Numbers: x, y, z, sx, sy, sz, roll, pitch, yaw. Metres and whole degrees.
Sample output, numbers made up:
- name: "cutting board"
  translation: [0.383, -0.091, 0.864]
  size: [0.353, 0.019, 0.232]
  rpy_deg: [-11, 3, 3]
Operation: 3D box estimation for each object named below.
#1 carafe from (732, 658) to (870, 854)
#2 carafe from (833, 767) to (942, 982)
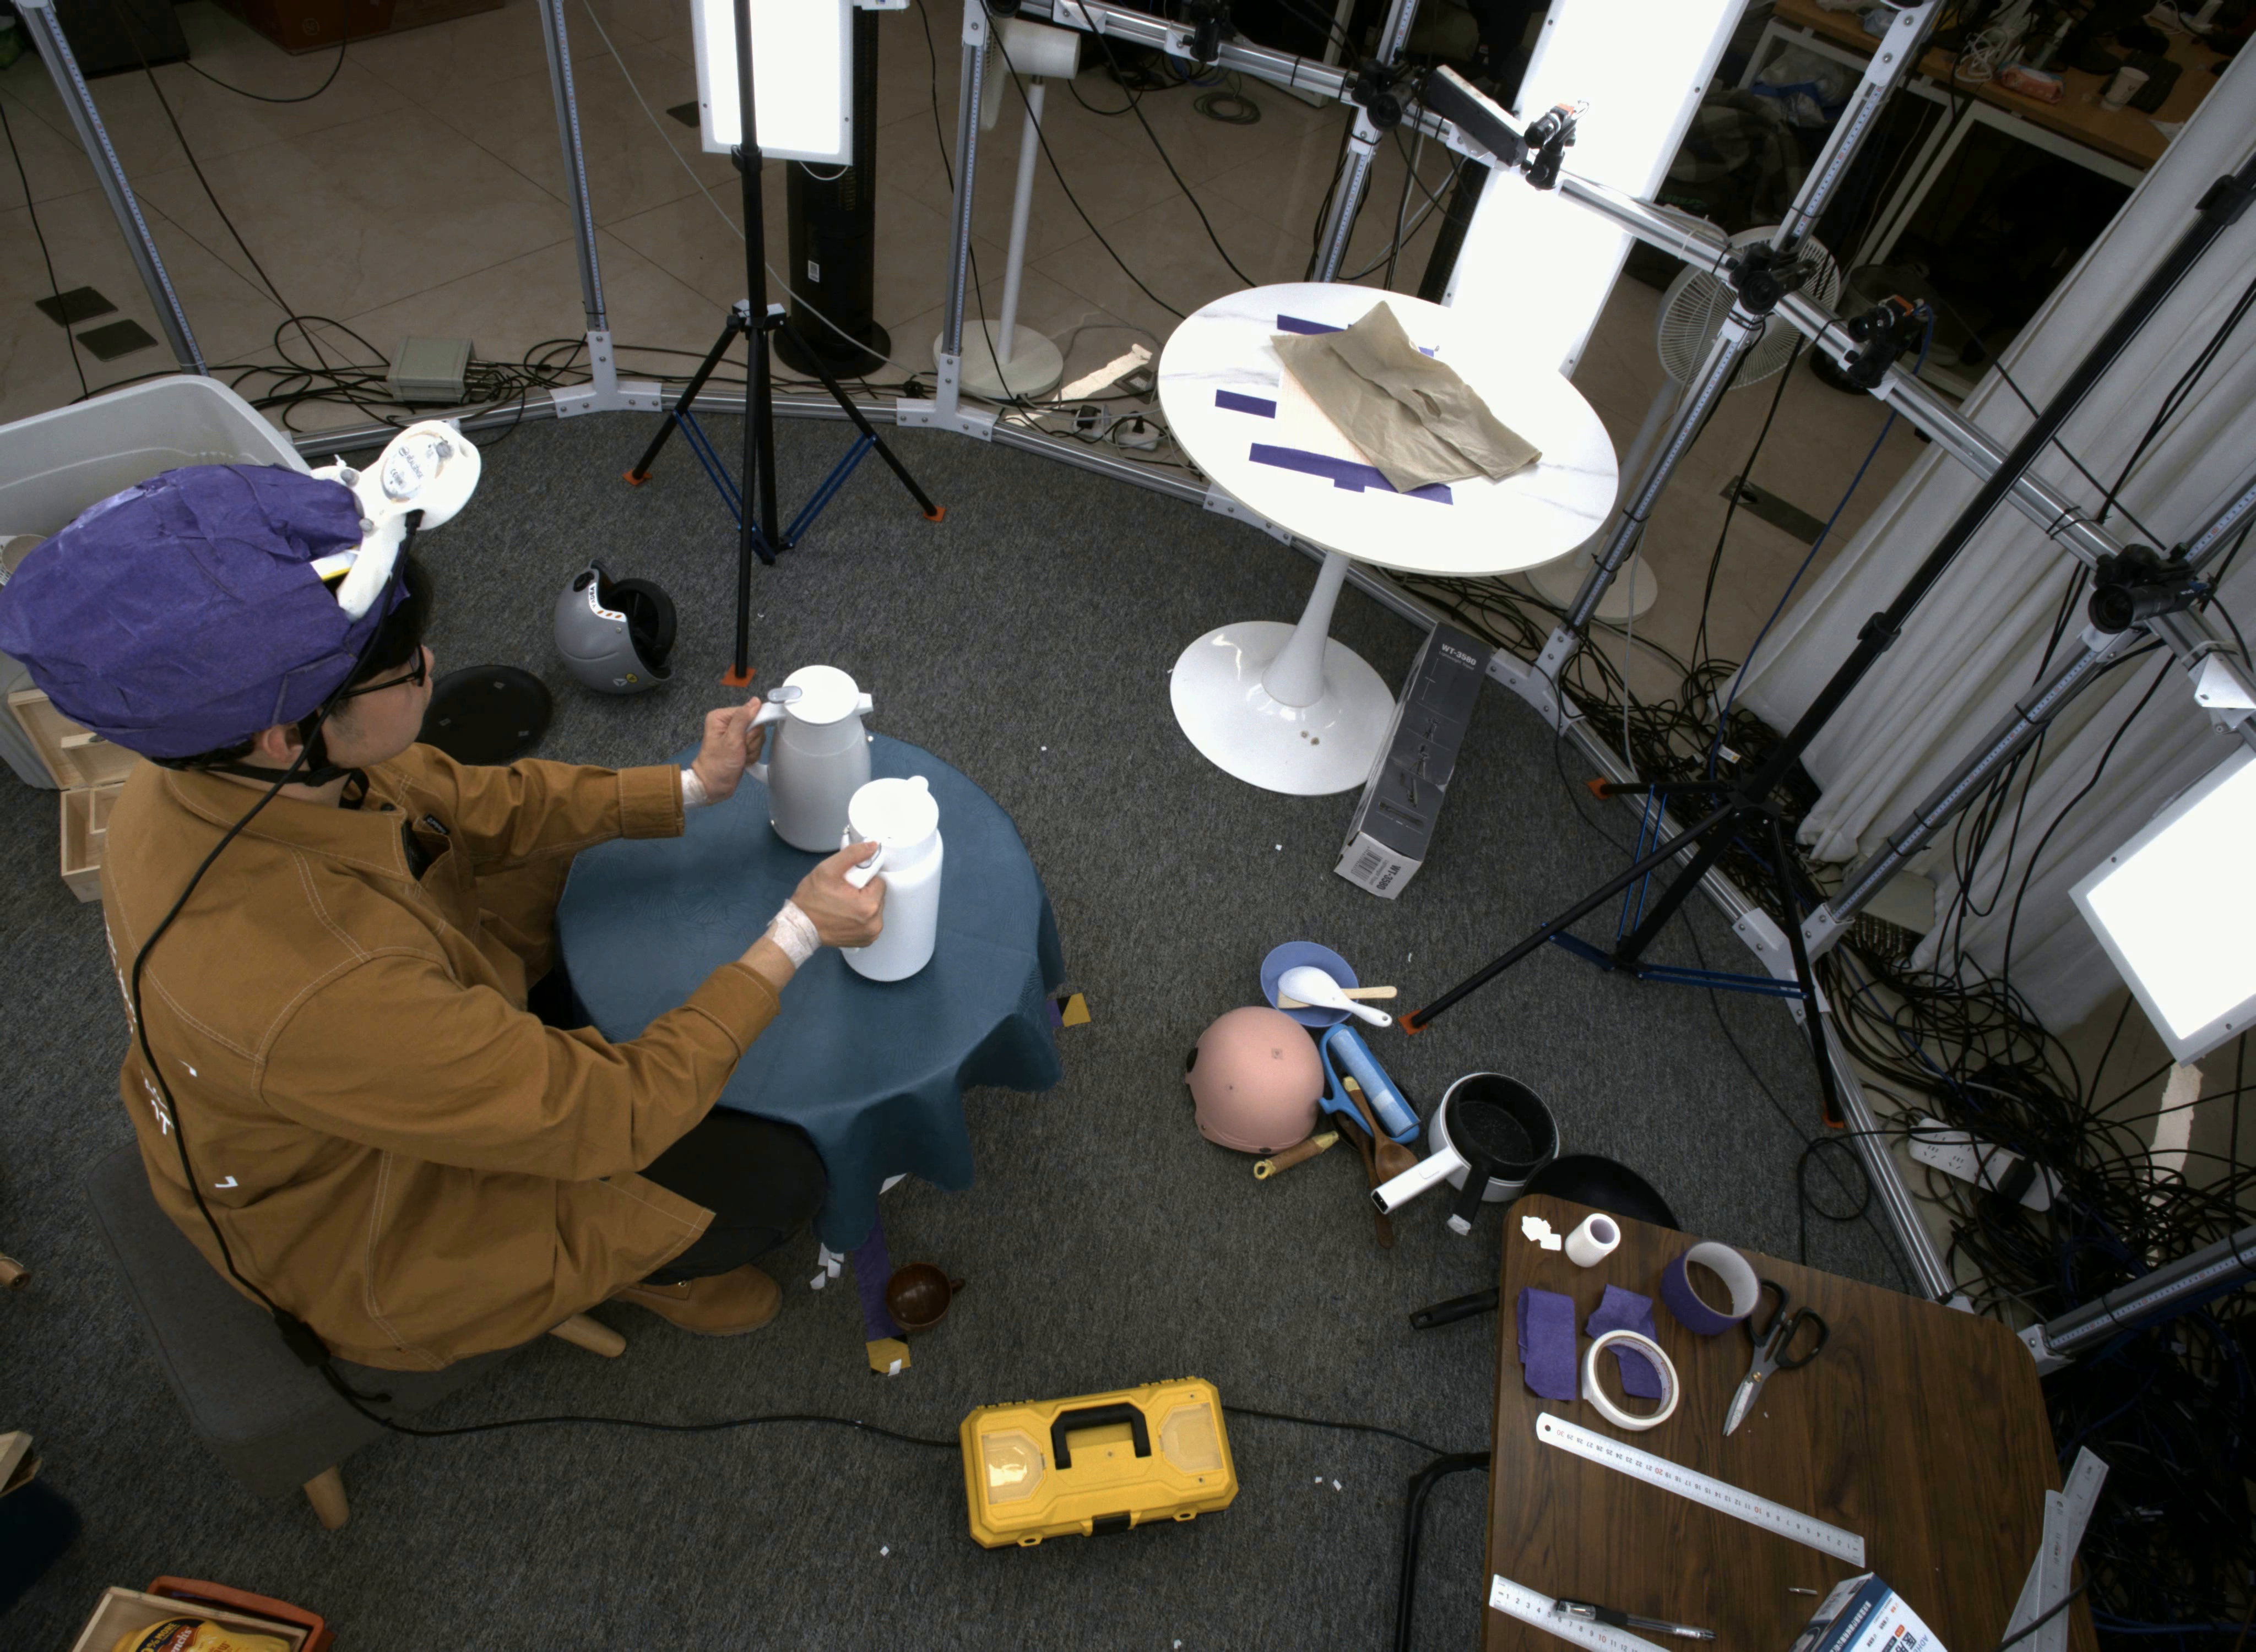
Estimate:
- name: "carafe"
  translation: [-0.407, -0.091, 1.620]
  size: [0.168, 0.253, 0.129]
  rpy_deg: [-6, 55, -16]
- name: "carafe"
  translation: [-0.286, 0.075, 1.517]
  size: [0.122, 0.274, 0.171]
  rpy_deg: [24, 50, 5]
